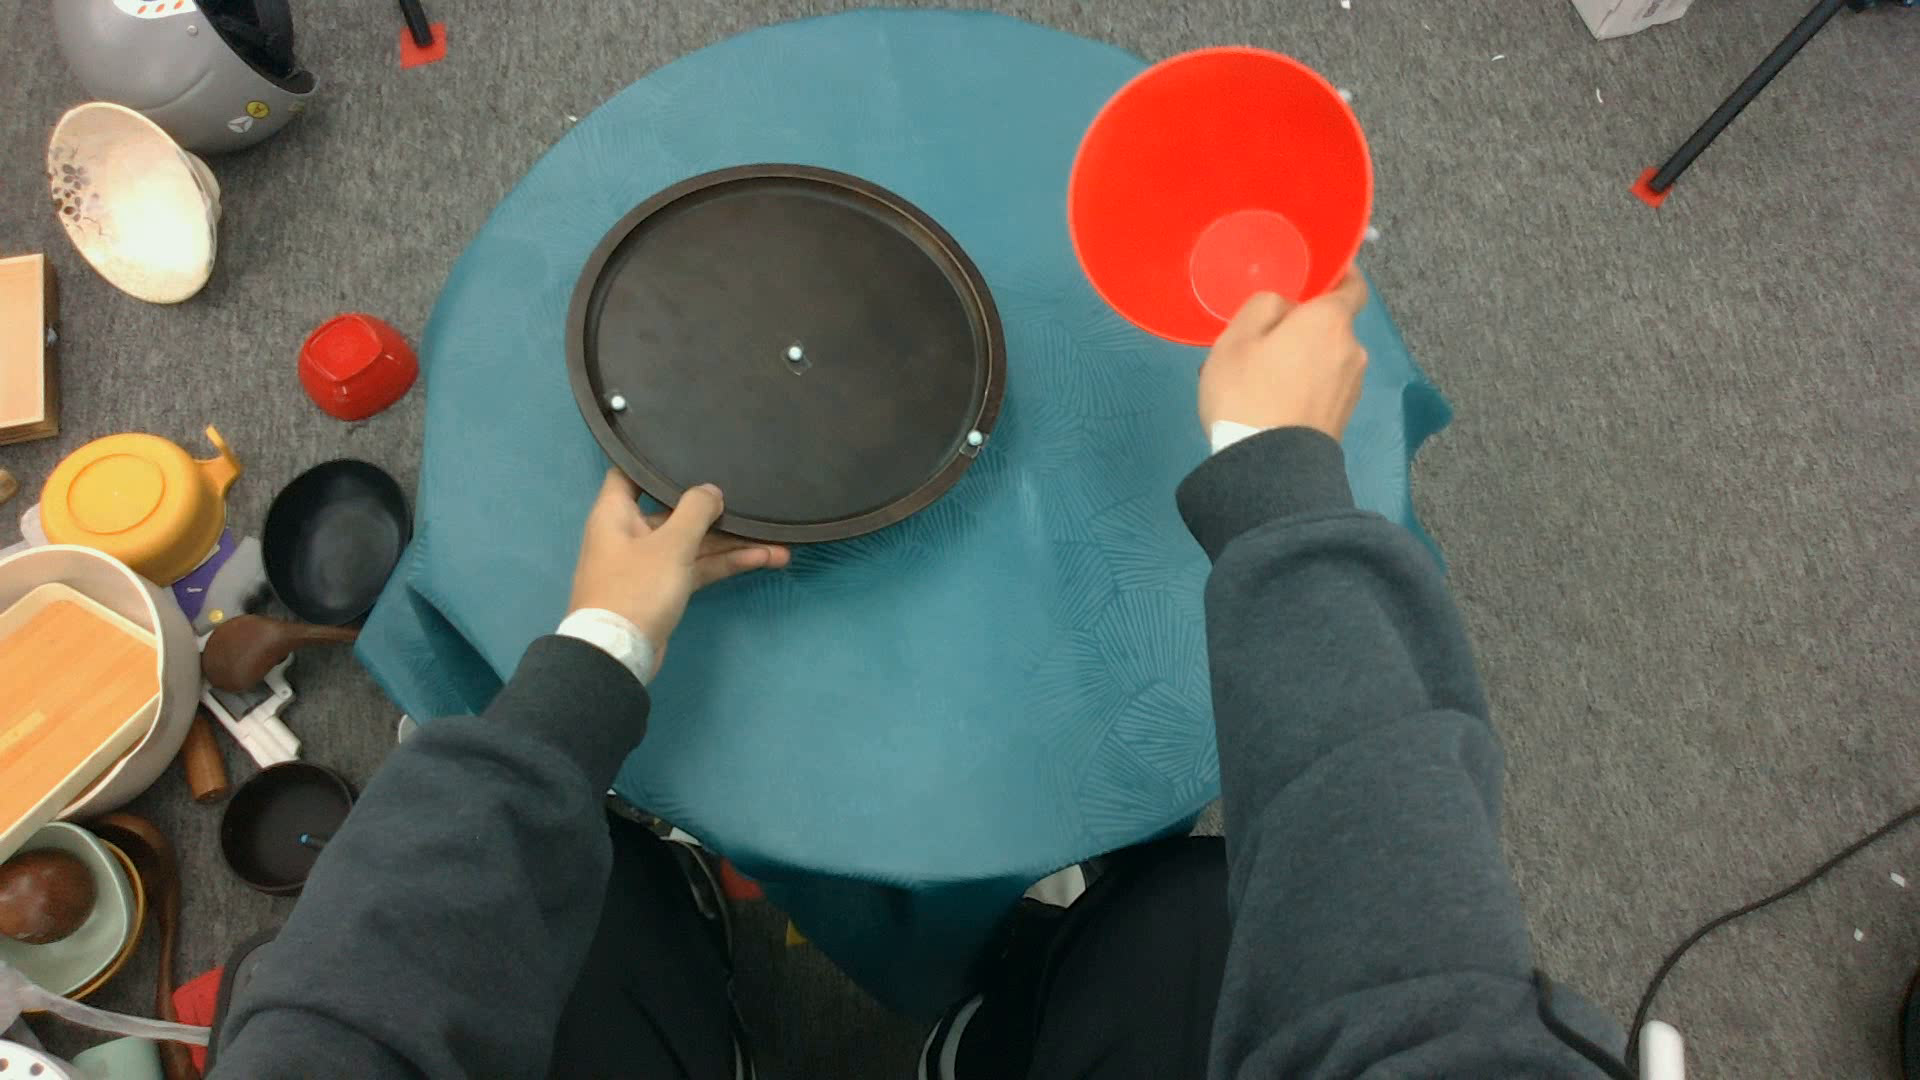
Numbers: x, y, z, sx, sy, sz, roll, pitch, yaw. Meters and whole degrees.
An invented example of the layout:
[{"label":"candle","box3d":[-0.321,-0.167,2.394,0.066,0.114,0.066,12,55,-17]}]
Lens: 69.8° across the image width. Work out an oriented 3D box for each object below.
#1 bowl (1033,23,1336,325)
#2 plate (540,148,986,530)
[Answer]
[{"label":"bowl","box3d":[0.116,-0.174,0.713,0.148,0.104,0.148,-3,71,8]},{"label":"plate","box3d":[-0.111,-0.120,0.798,0.255,0.029,0.255,5,66,-11]}]
